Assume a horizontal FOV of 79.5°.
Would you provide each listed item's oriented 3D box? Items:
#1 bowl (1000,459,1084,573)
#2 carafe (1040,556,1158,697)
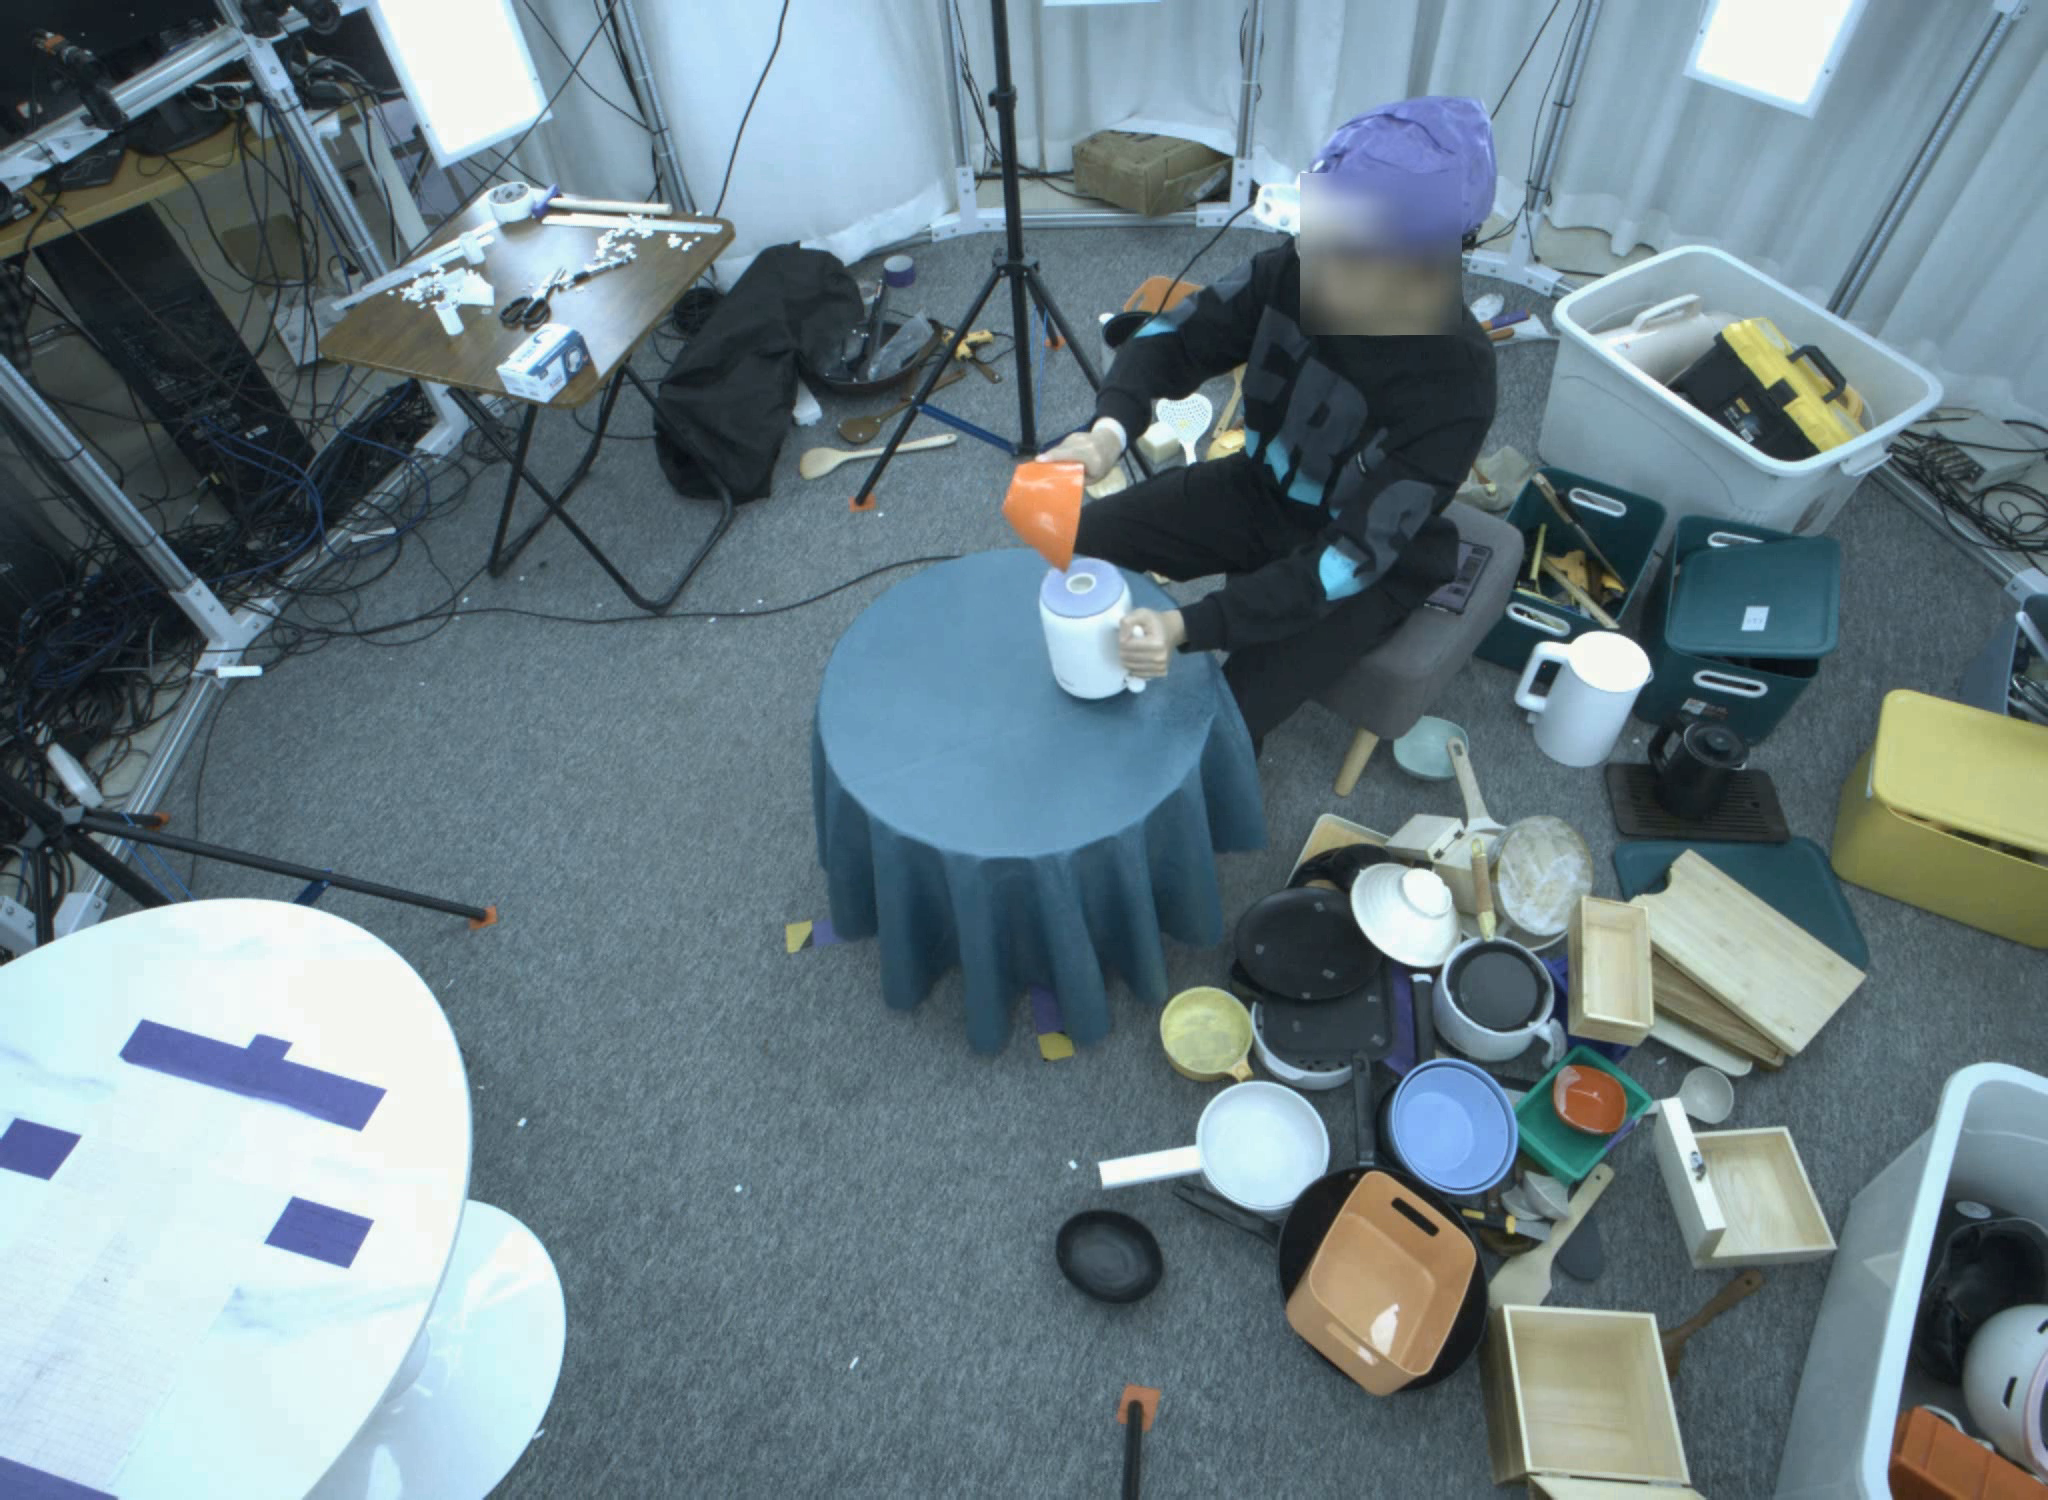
[{"bbox_3d":[0.023,-0.321,1.622,0.105,0.148,0.147,19,56,-6],"label":"bowl"},{"bbox_3d":[0.113,-0.166,1.769,0.187,0.185,0.133,33,65,29],"label":"carafe"}]
